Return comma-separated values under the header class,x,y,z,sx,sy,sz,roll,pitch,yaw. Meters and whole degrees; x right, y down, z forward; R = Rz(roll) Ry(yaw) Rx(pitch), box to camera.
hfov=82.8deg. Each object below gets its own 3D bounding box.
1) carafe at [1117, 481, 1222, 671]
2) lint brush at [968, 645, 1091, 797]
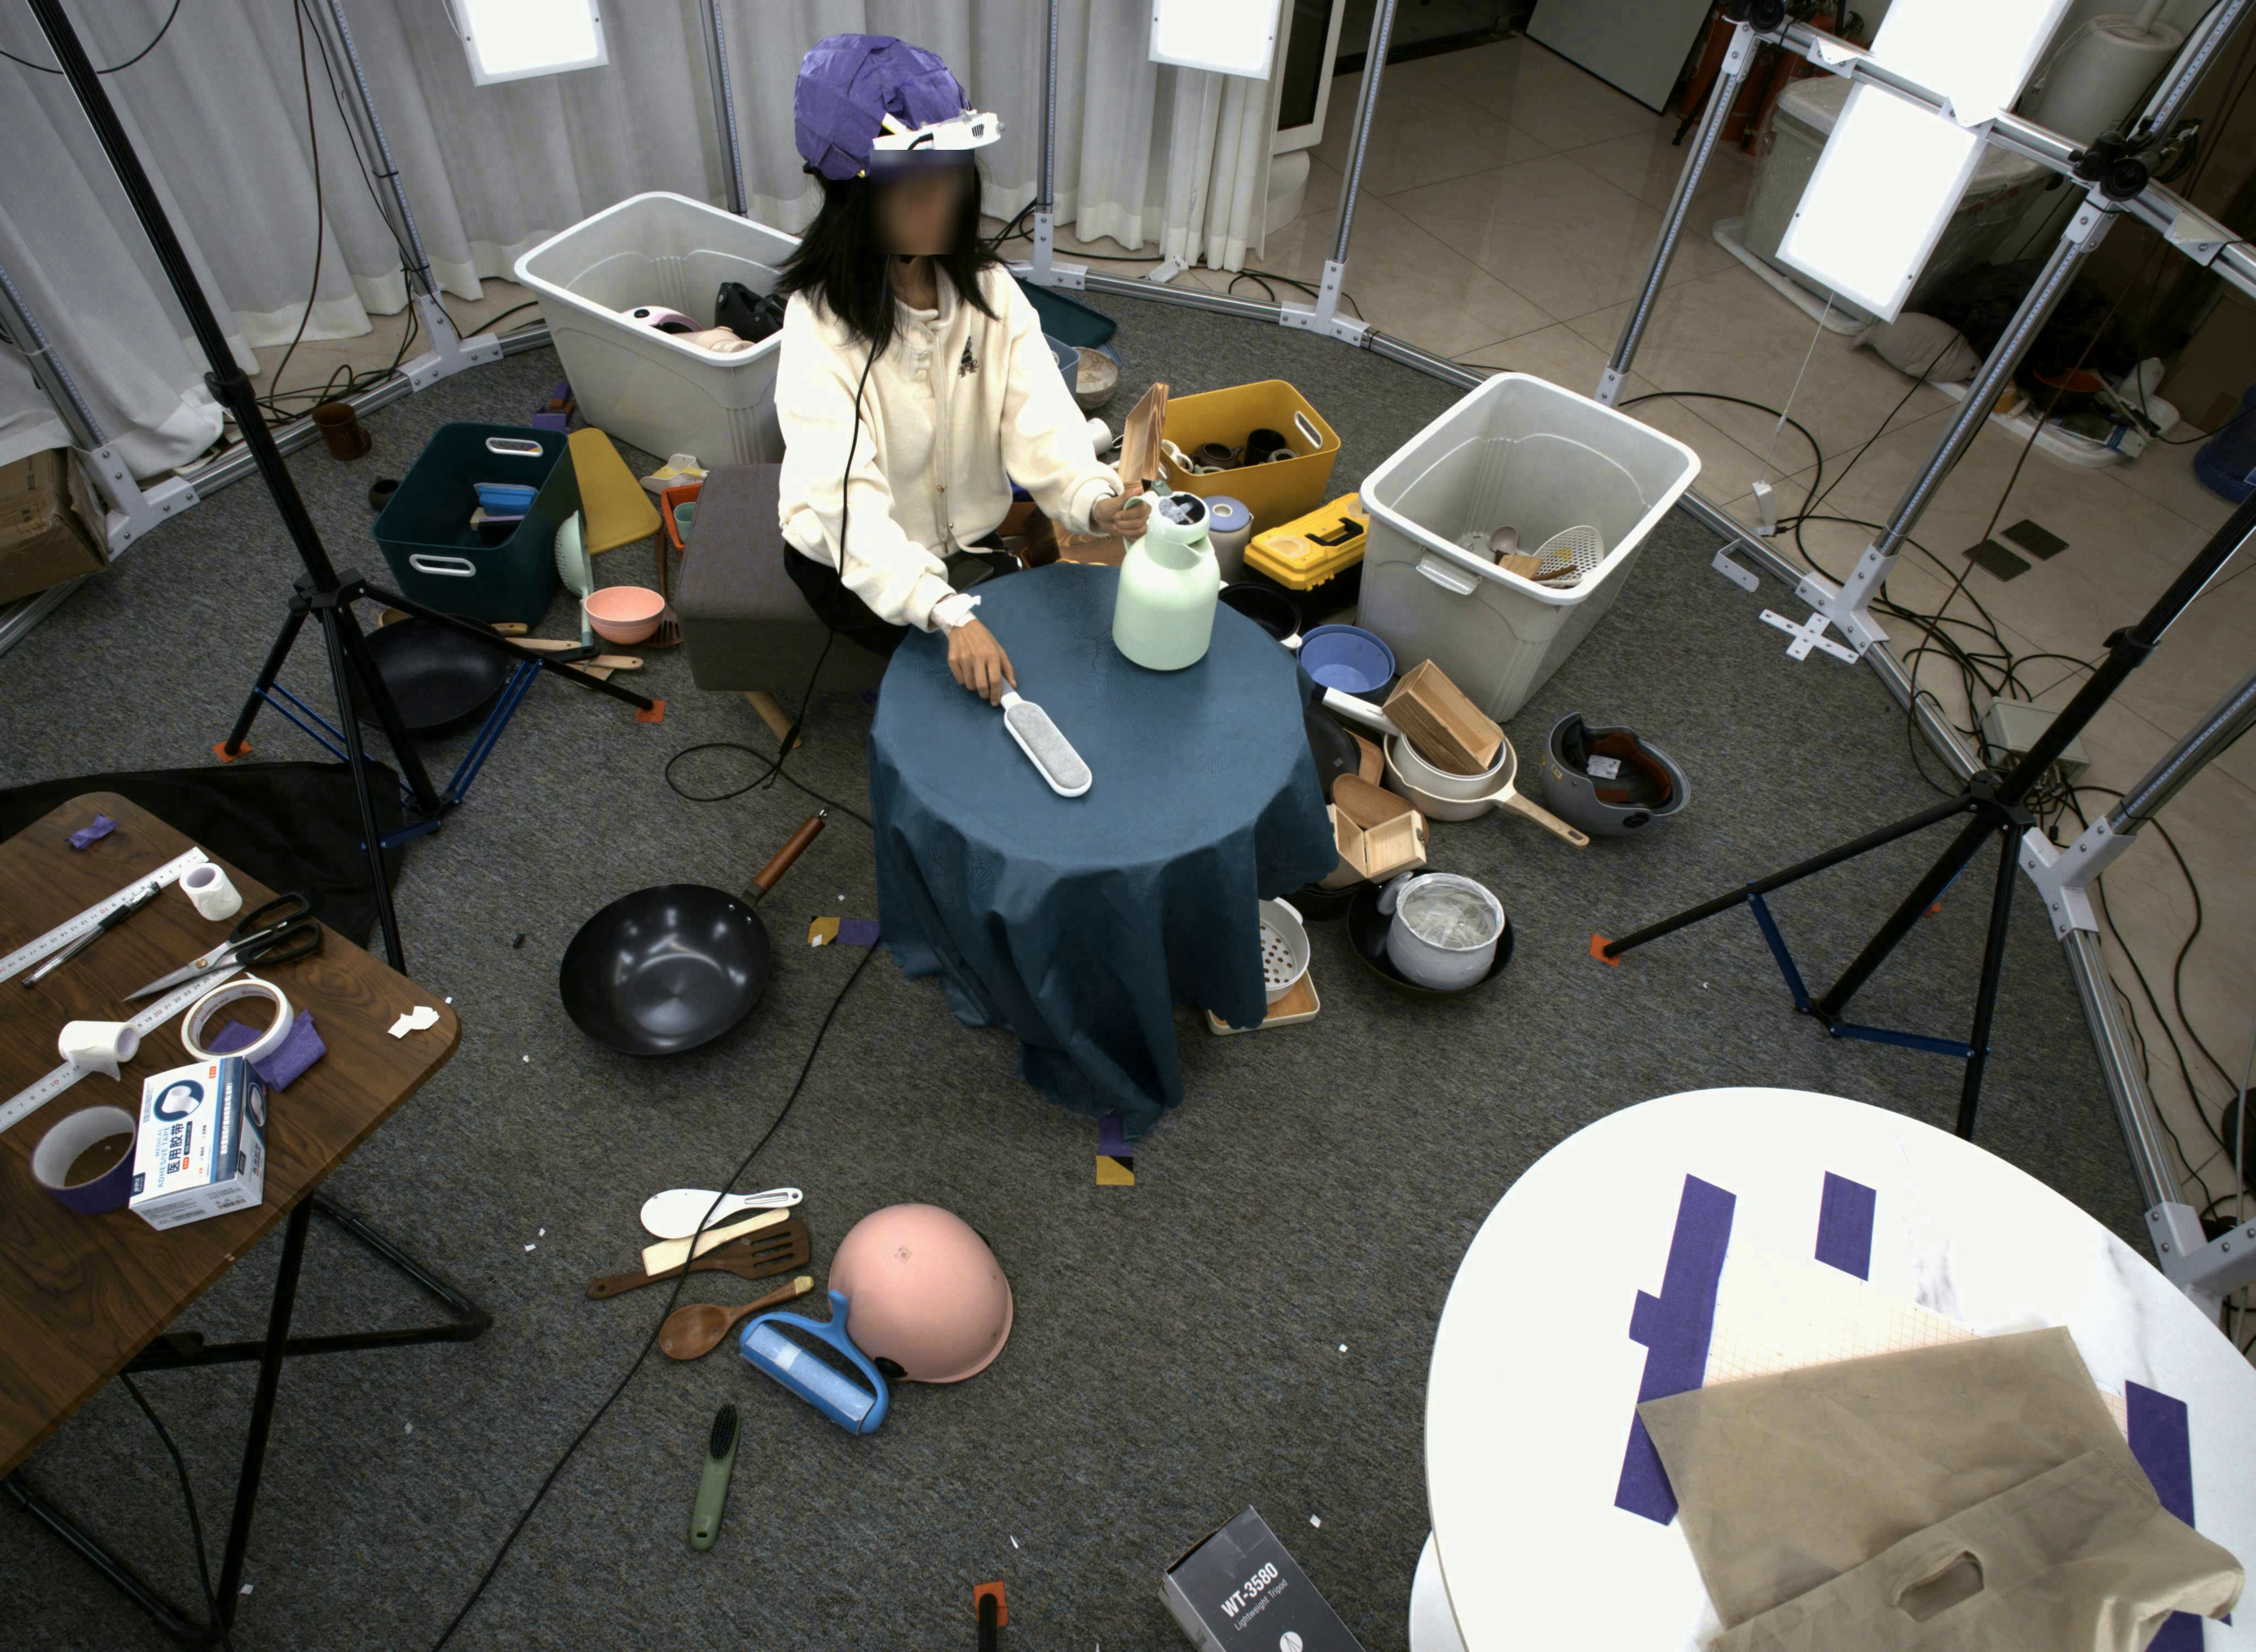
class,x,y,z,sx,sy,sz,roll,pitch,yaw
carafe,0.054,-0.359,1.819,0.145,0.250,0.190,-25,56,-21
lint brush,-0.142,-0.150,1.772,0.060,0.020,0.315,-24,55,-21
